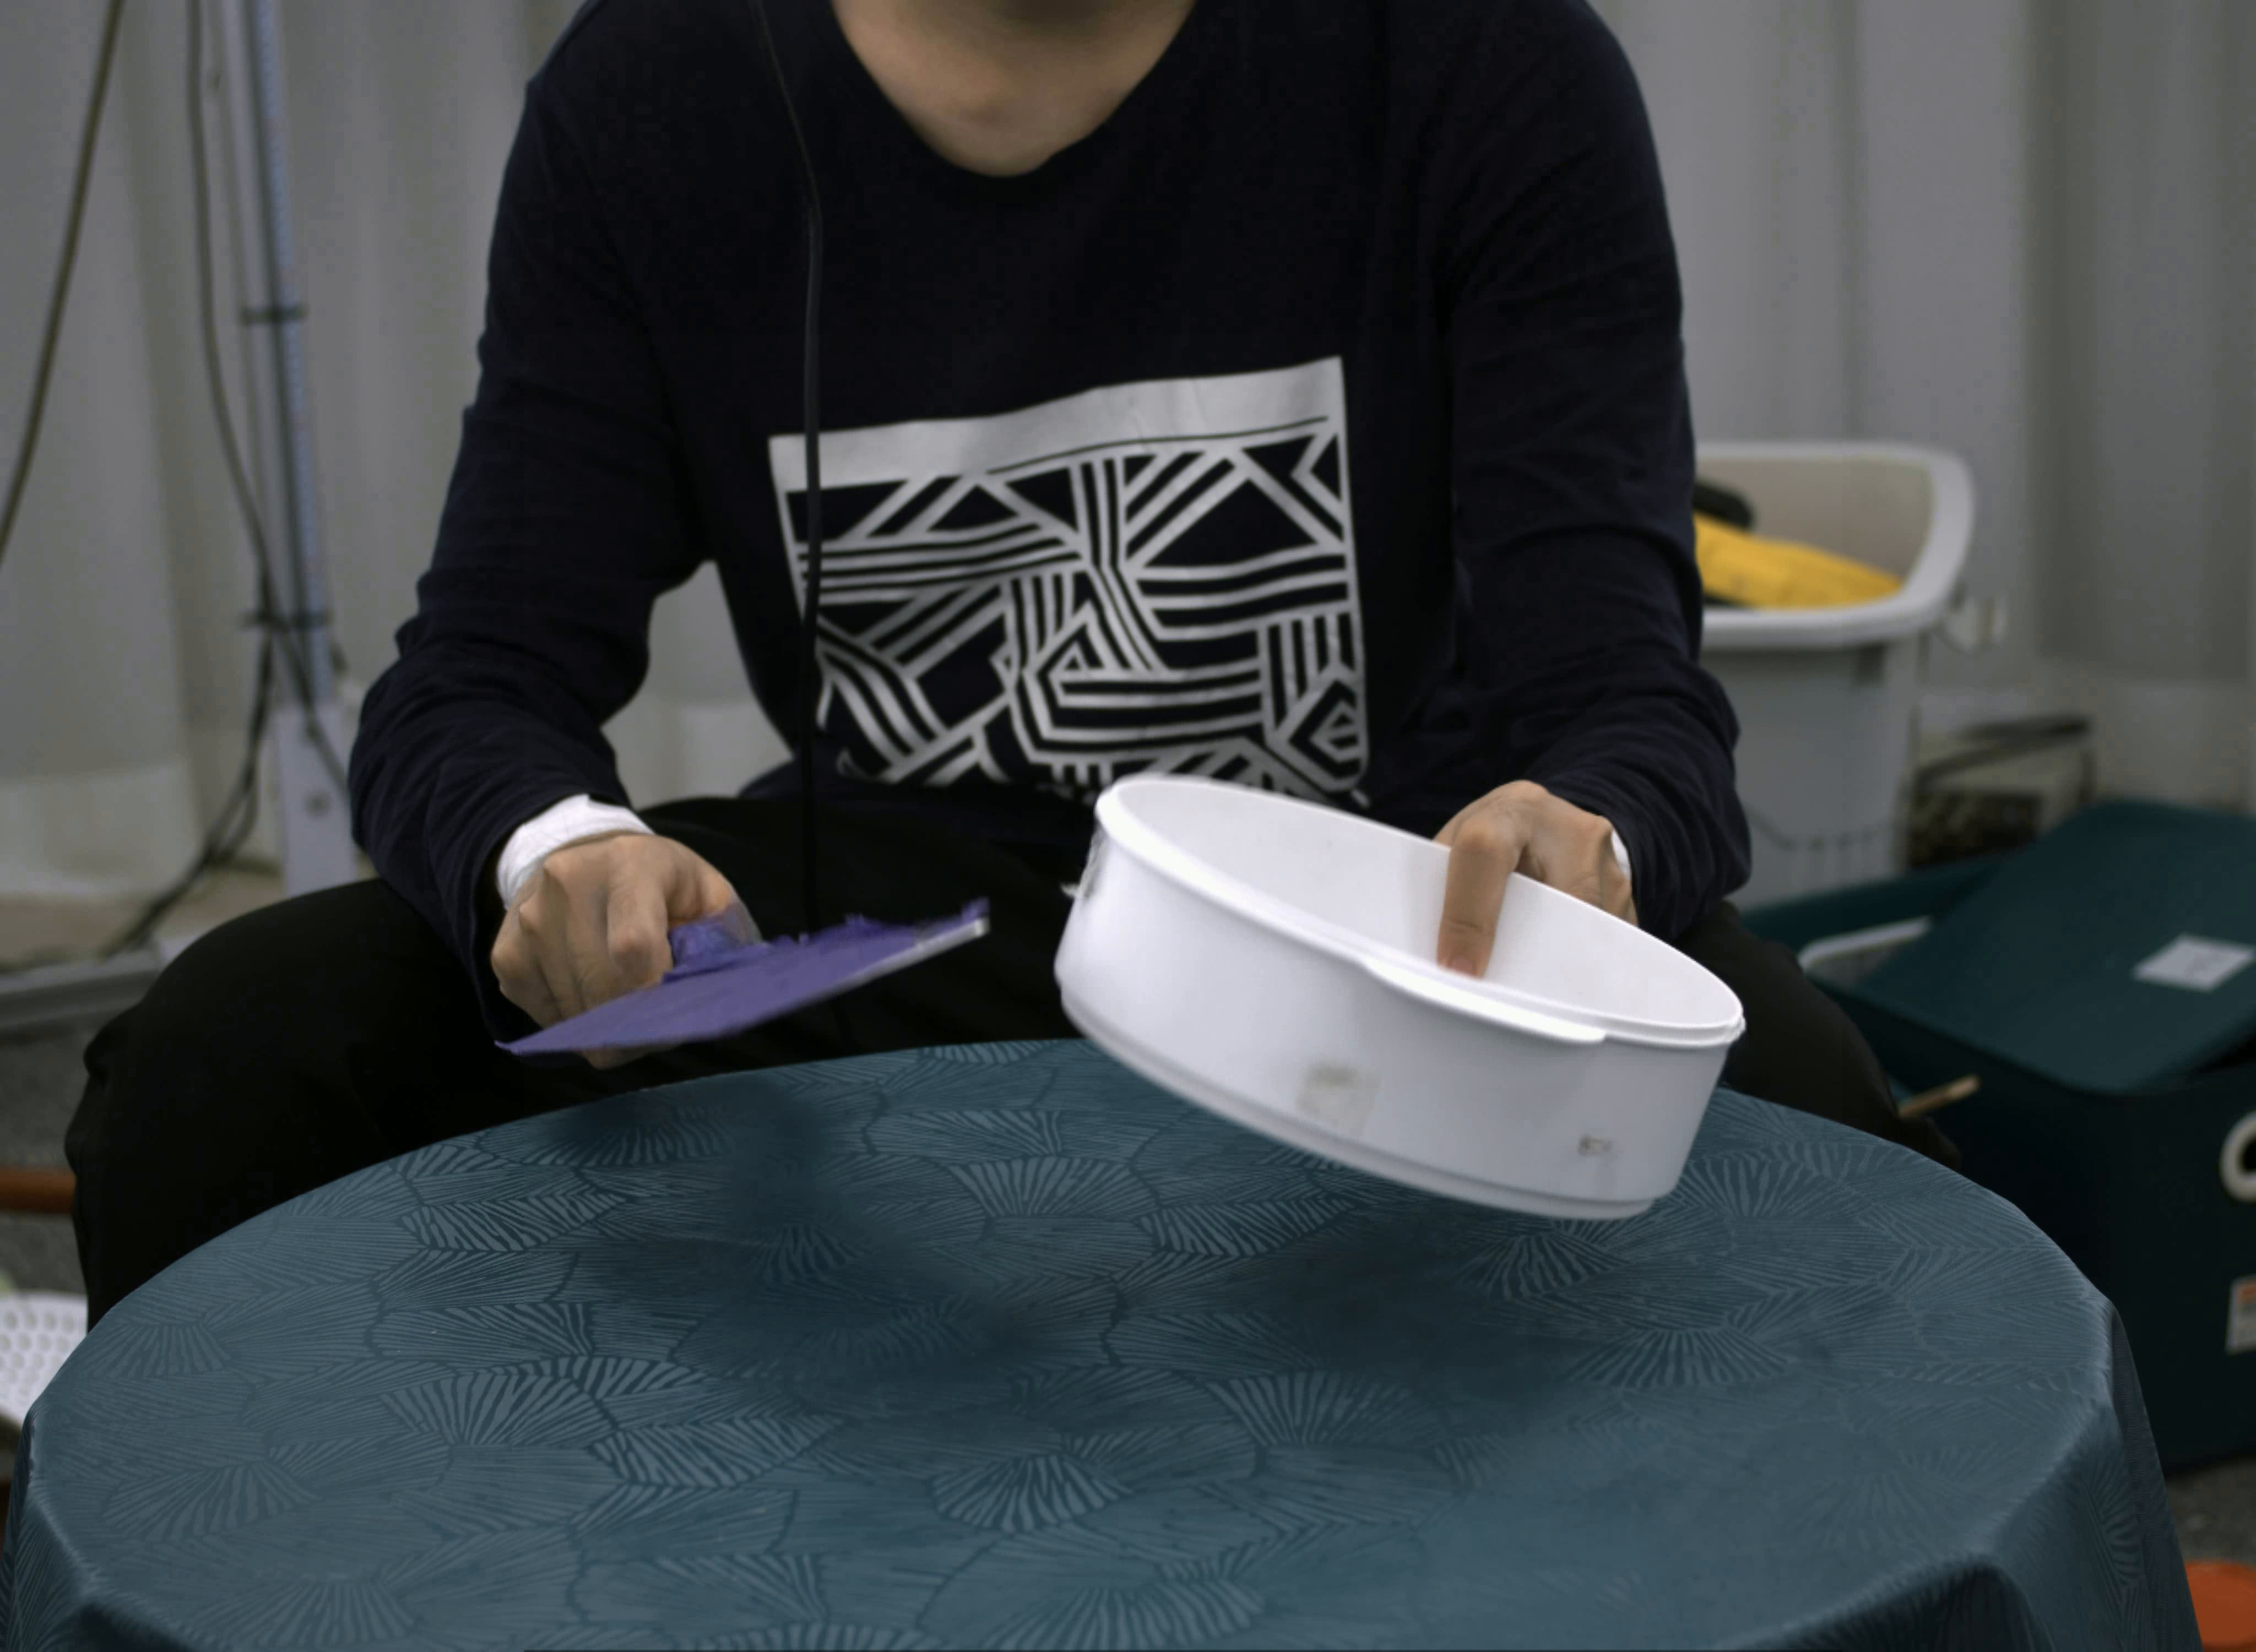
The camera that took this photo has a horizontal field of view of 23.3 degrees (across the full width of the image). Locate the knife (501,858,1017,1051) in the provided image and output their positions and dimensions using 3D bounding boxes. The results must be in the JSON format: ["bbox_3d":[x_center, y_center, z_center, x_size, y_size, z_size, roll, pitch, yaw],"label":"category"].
[{"bbox_3d":[-0.139,0.044,1.684,0.104,0.032,0.315,-21,2,-26],"label":"knife"}]

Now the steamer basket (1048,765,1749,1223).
[{"bbox_3d":[0.077,0.051,1.591,0.201,0.069,0.232,20,7,-11],"label":"steamer basket"}]
